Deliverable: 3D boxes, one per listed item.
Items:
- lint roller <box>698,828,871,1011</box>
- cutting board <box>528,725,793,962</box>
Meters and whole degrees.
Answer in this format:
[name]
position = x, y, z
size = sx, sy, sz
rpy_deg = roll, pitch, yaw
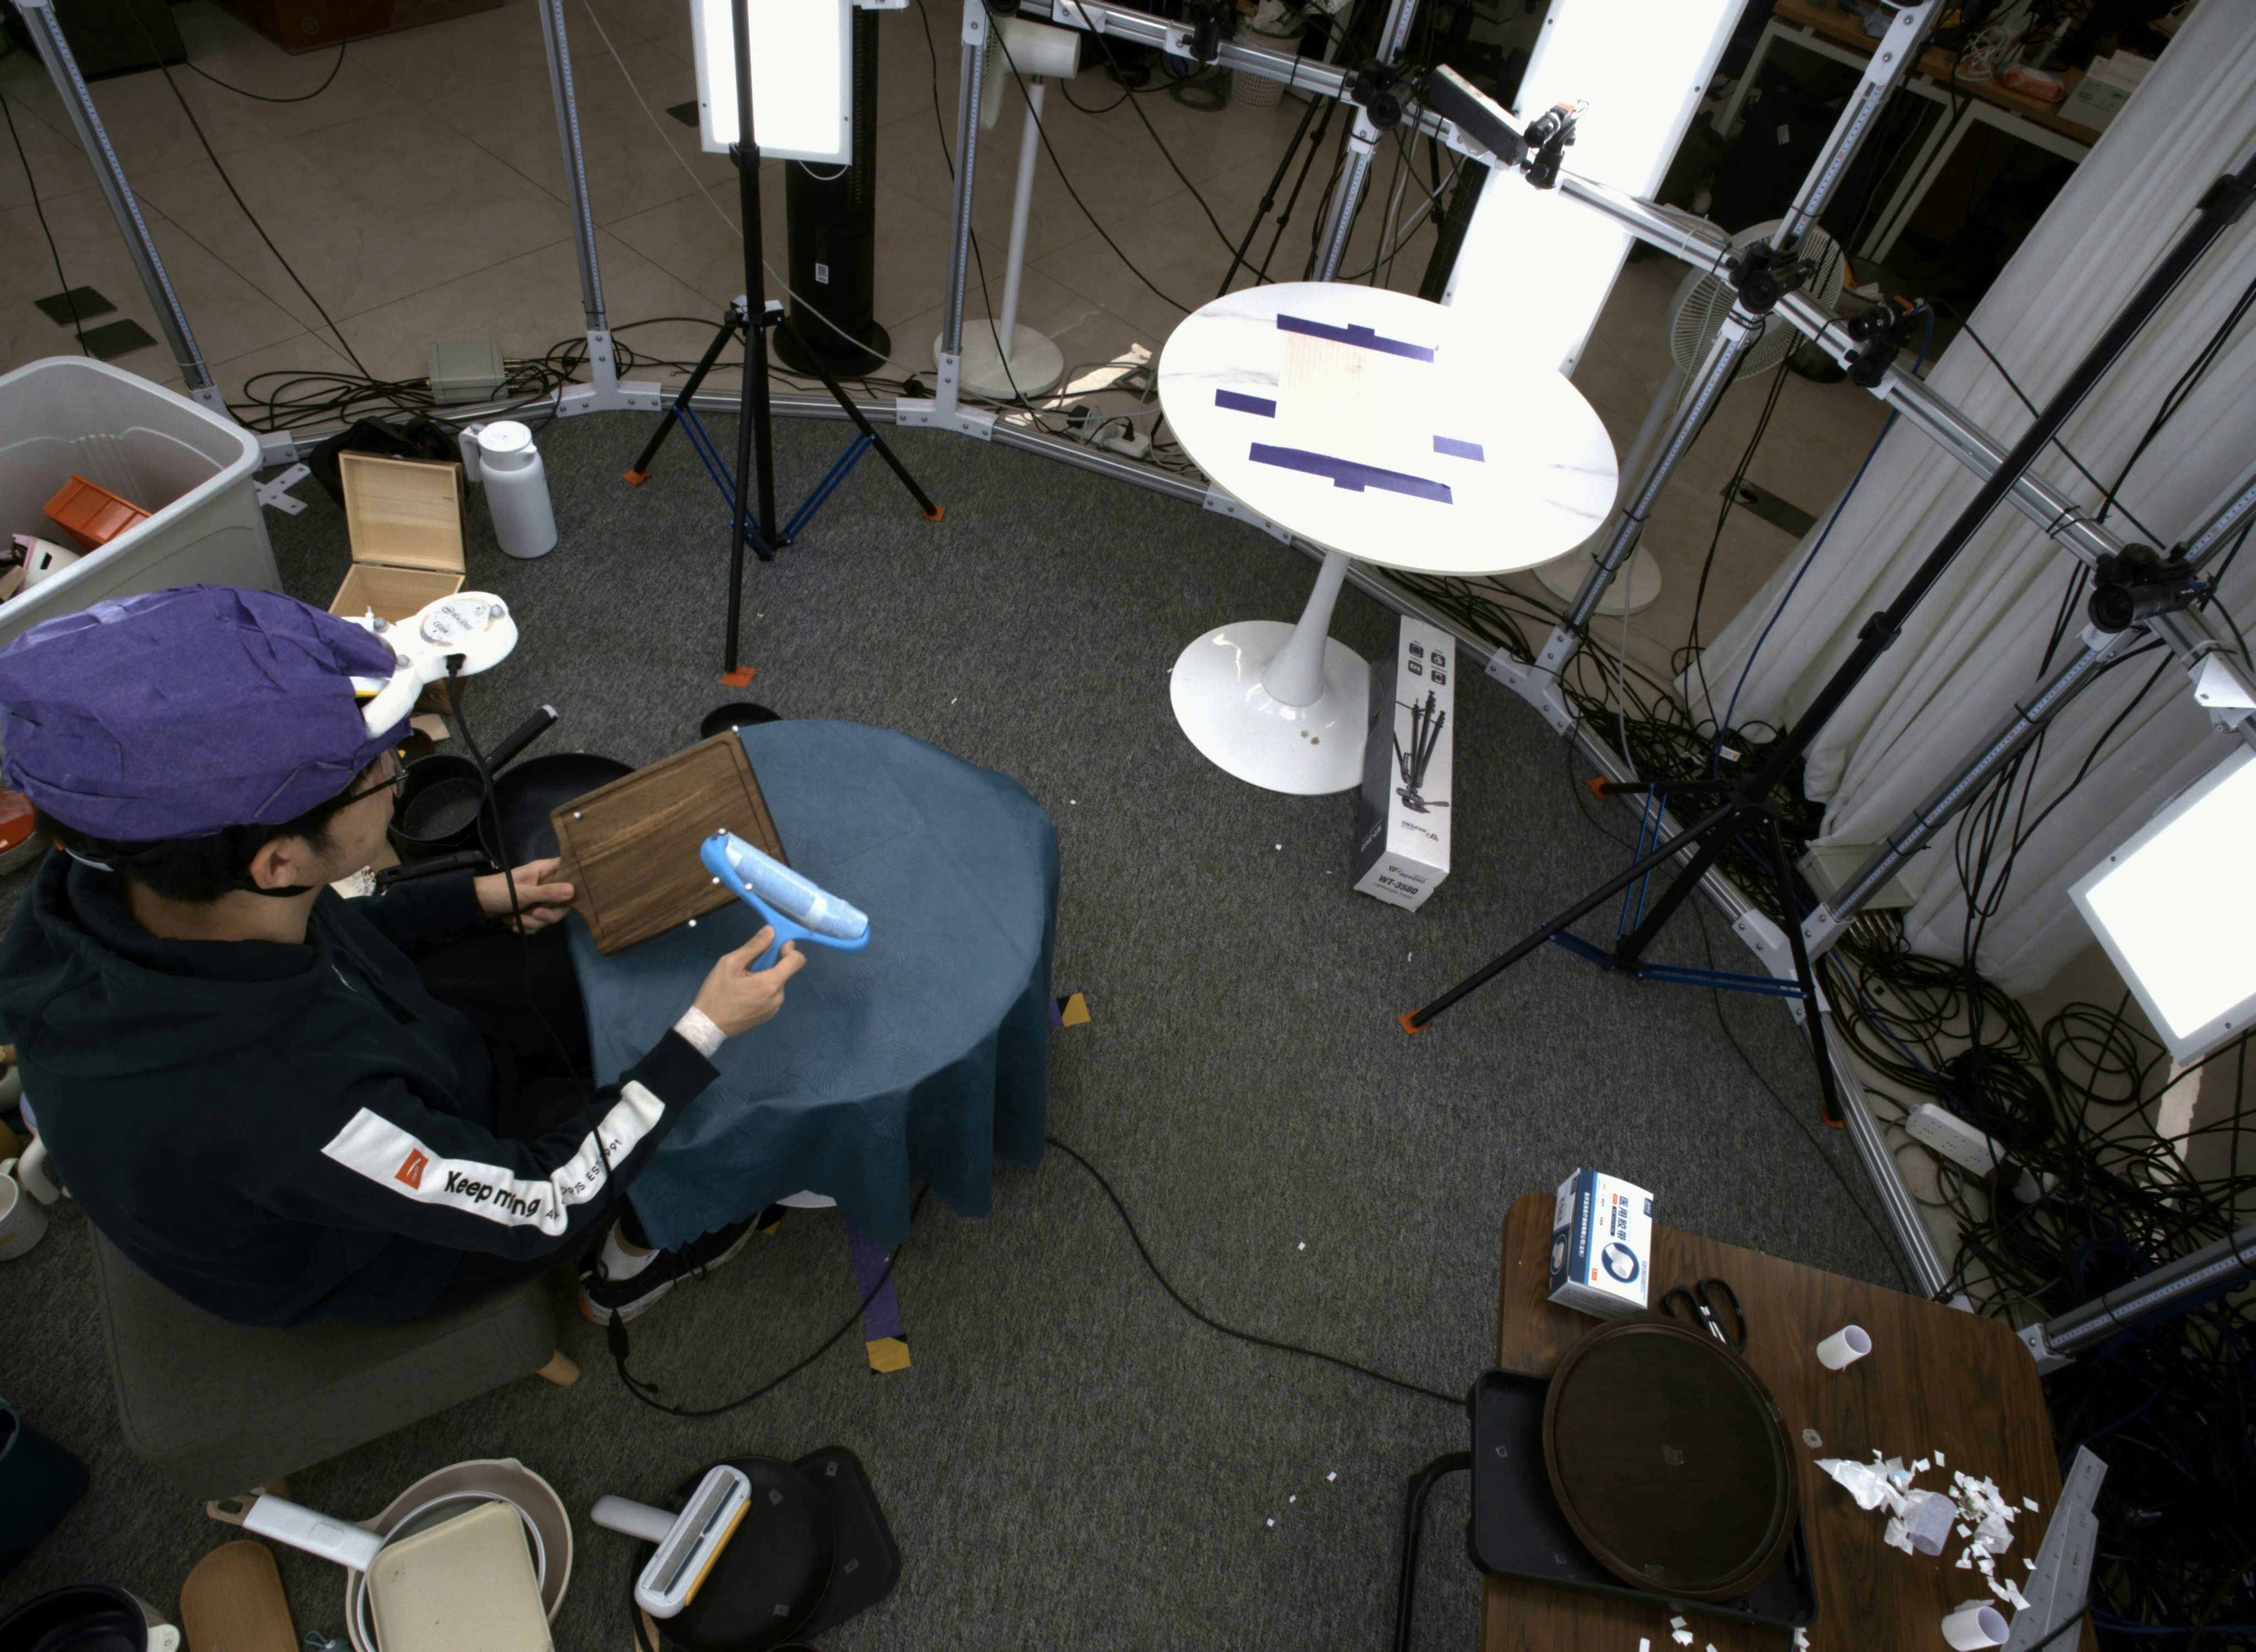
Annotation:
[lint roller]
position = -0.405, 0.121, 1.475
size = 0.236, 0.066, 0.178
rpy_deg = 34, 51, -33
[cutting board]
position = -0.593, 0.040, 1.541
size = 0.349, 0.023, 0.201
rpy_deg = -25, 83, -1
